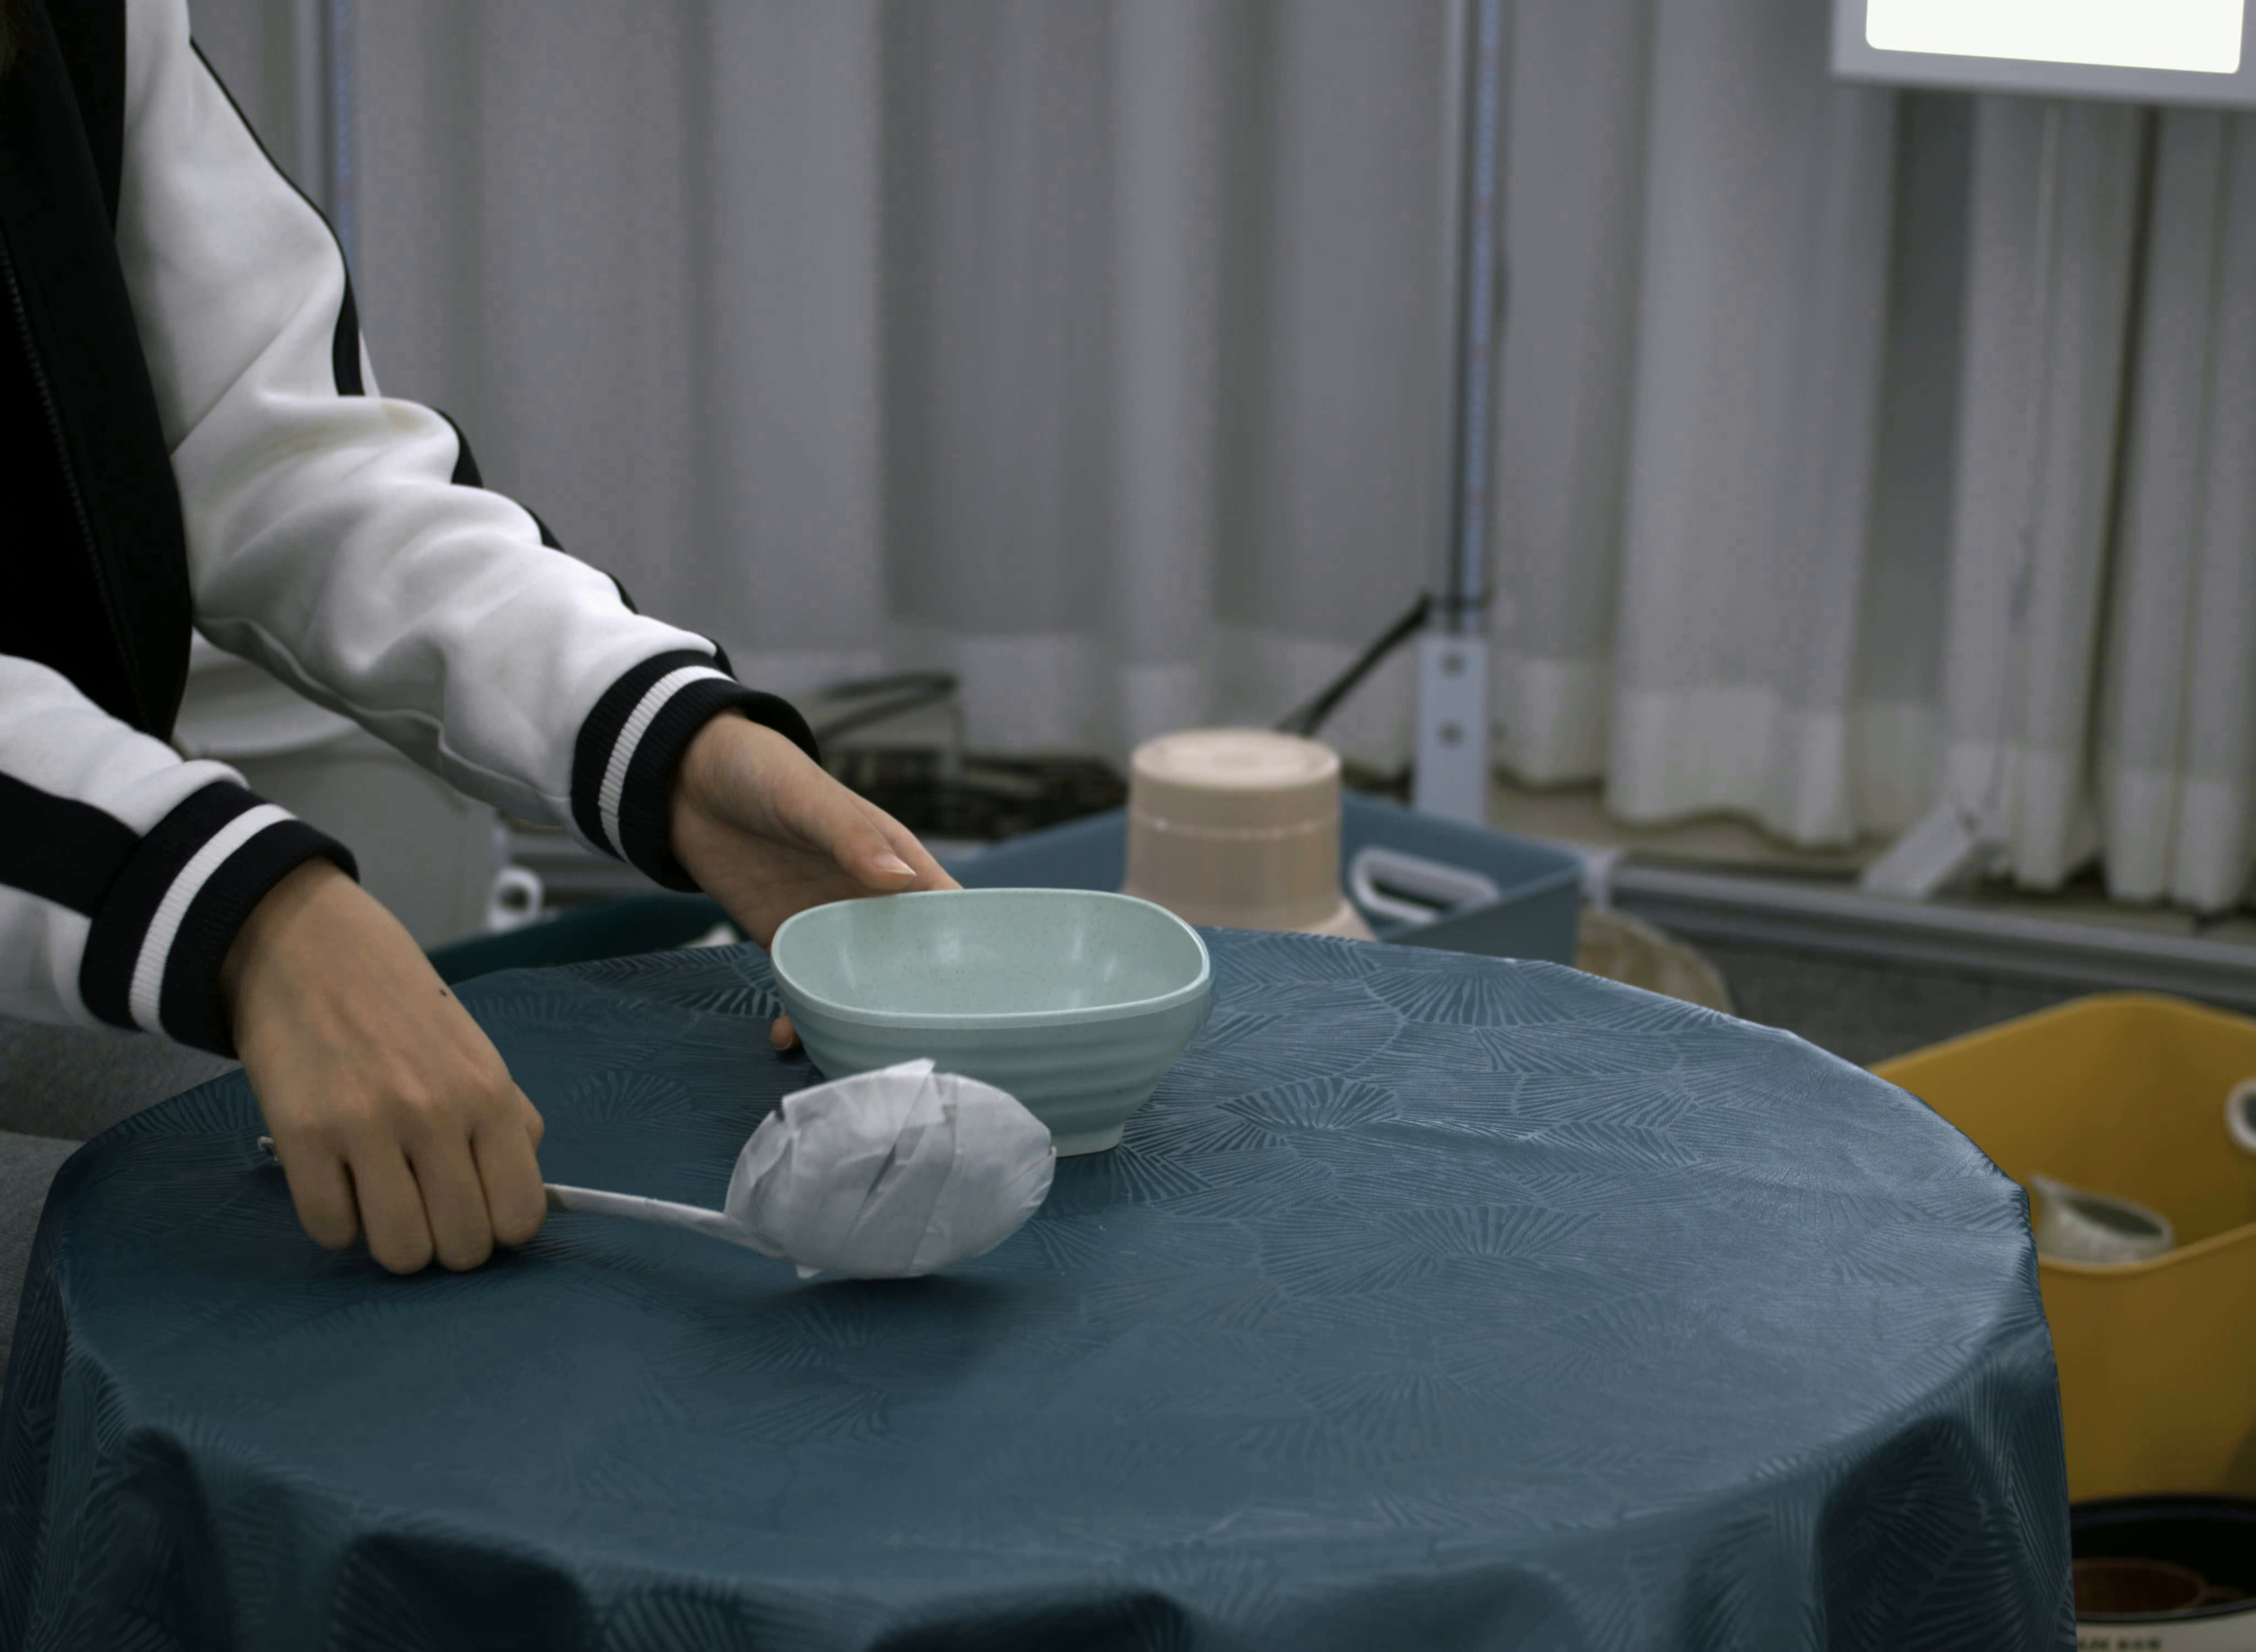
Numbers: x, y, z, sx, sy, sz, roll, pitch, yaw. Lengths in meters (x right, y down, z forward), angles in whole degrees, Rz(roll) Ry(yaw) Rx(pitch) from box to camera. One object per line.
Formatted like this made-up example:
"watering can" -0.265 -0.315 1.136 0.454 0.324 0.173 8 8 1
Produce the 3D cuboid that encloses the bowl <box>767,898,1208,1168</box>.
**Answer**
"bowl" -0.045 0.069 1.678 0.151 0.059 0.150 0 15 0

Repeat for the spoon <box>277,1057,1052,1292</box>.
"spoon" -0.144 0.098 1.575 0.274 0.102 0.059 4 53 38
